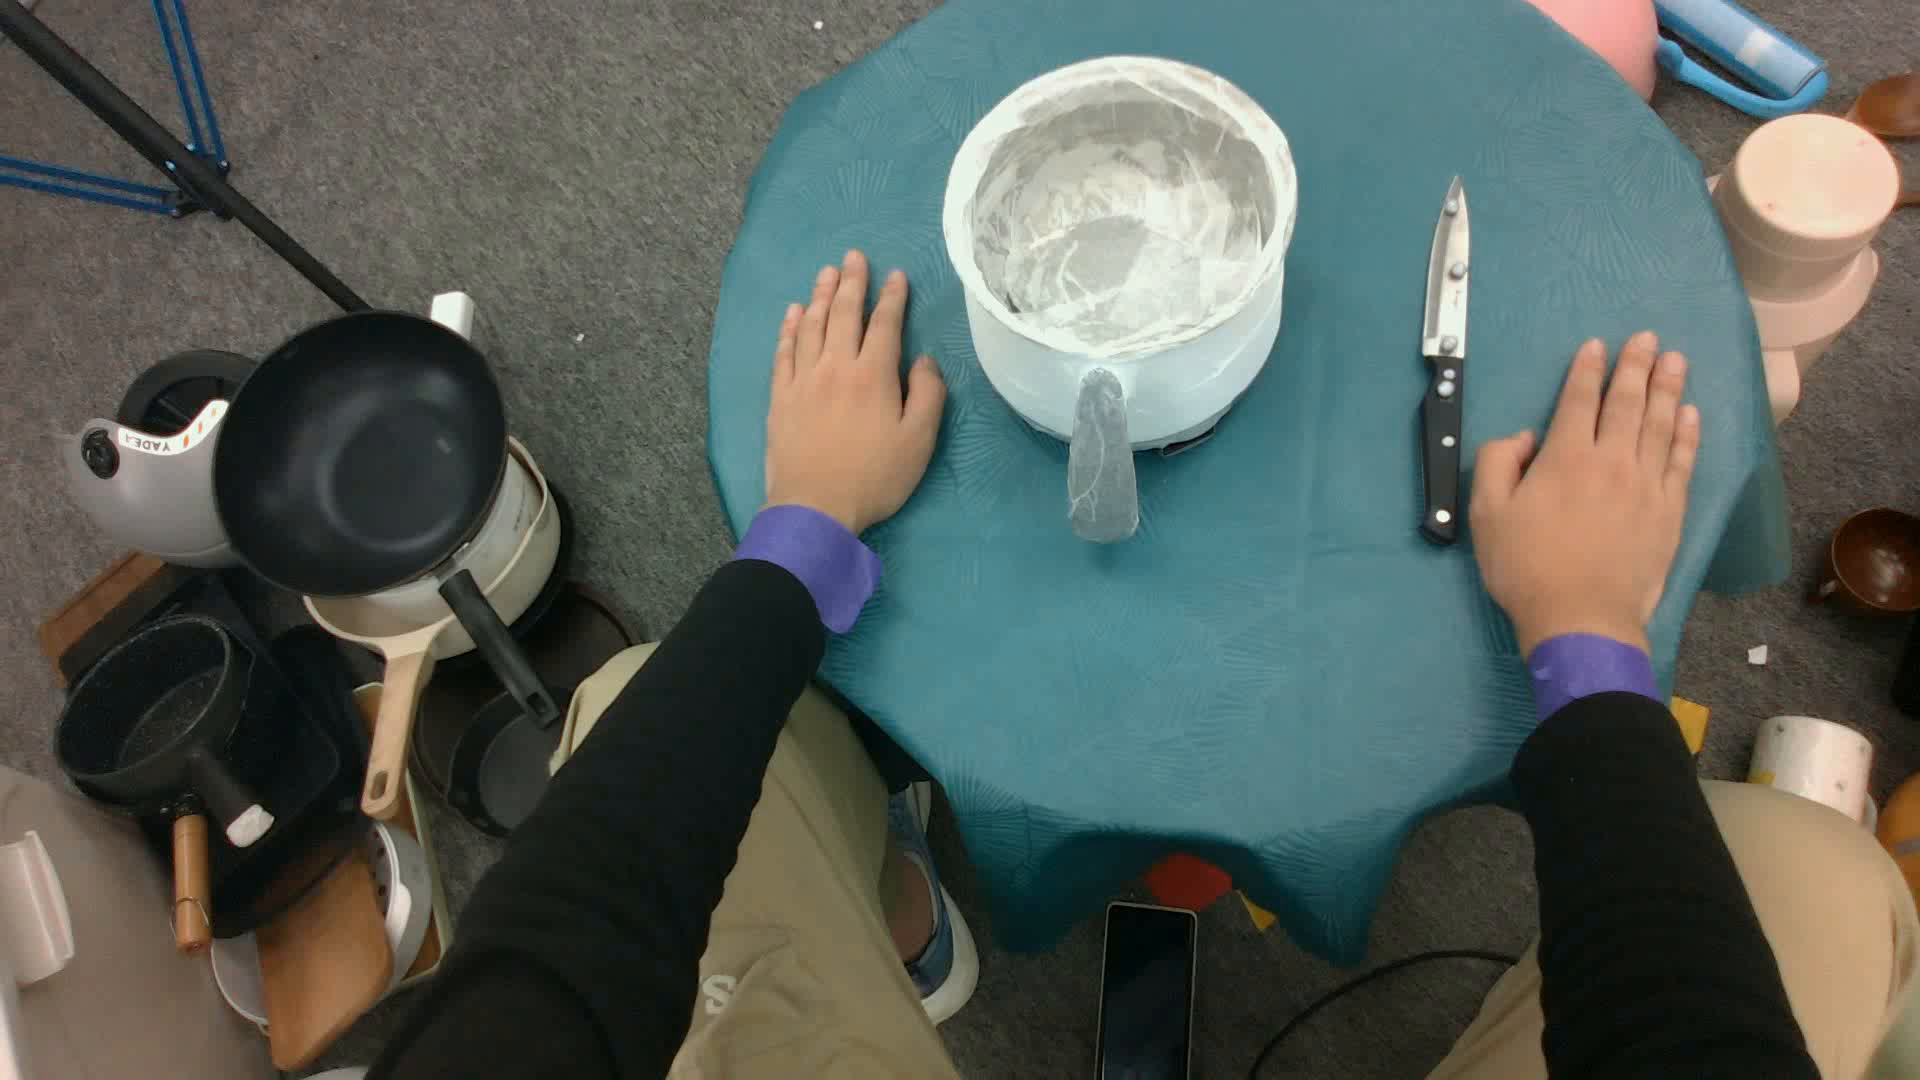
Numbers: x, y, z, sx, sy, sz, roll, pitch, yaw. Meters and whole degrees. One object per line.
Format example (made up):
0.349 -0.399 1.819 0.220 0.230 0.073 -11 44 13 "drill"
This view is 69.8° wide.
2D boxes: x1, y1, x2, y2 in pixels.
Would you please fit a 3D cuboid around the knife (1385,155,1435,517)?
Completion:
0.257 -0.122 0.779 0.024 0.016 0.239 6 67 11 "knife"

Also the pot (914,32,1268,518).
0.070 -0.136 0.739 0.178 0.136 0.234 2 69 9 "pot"
